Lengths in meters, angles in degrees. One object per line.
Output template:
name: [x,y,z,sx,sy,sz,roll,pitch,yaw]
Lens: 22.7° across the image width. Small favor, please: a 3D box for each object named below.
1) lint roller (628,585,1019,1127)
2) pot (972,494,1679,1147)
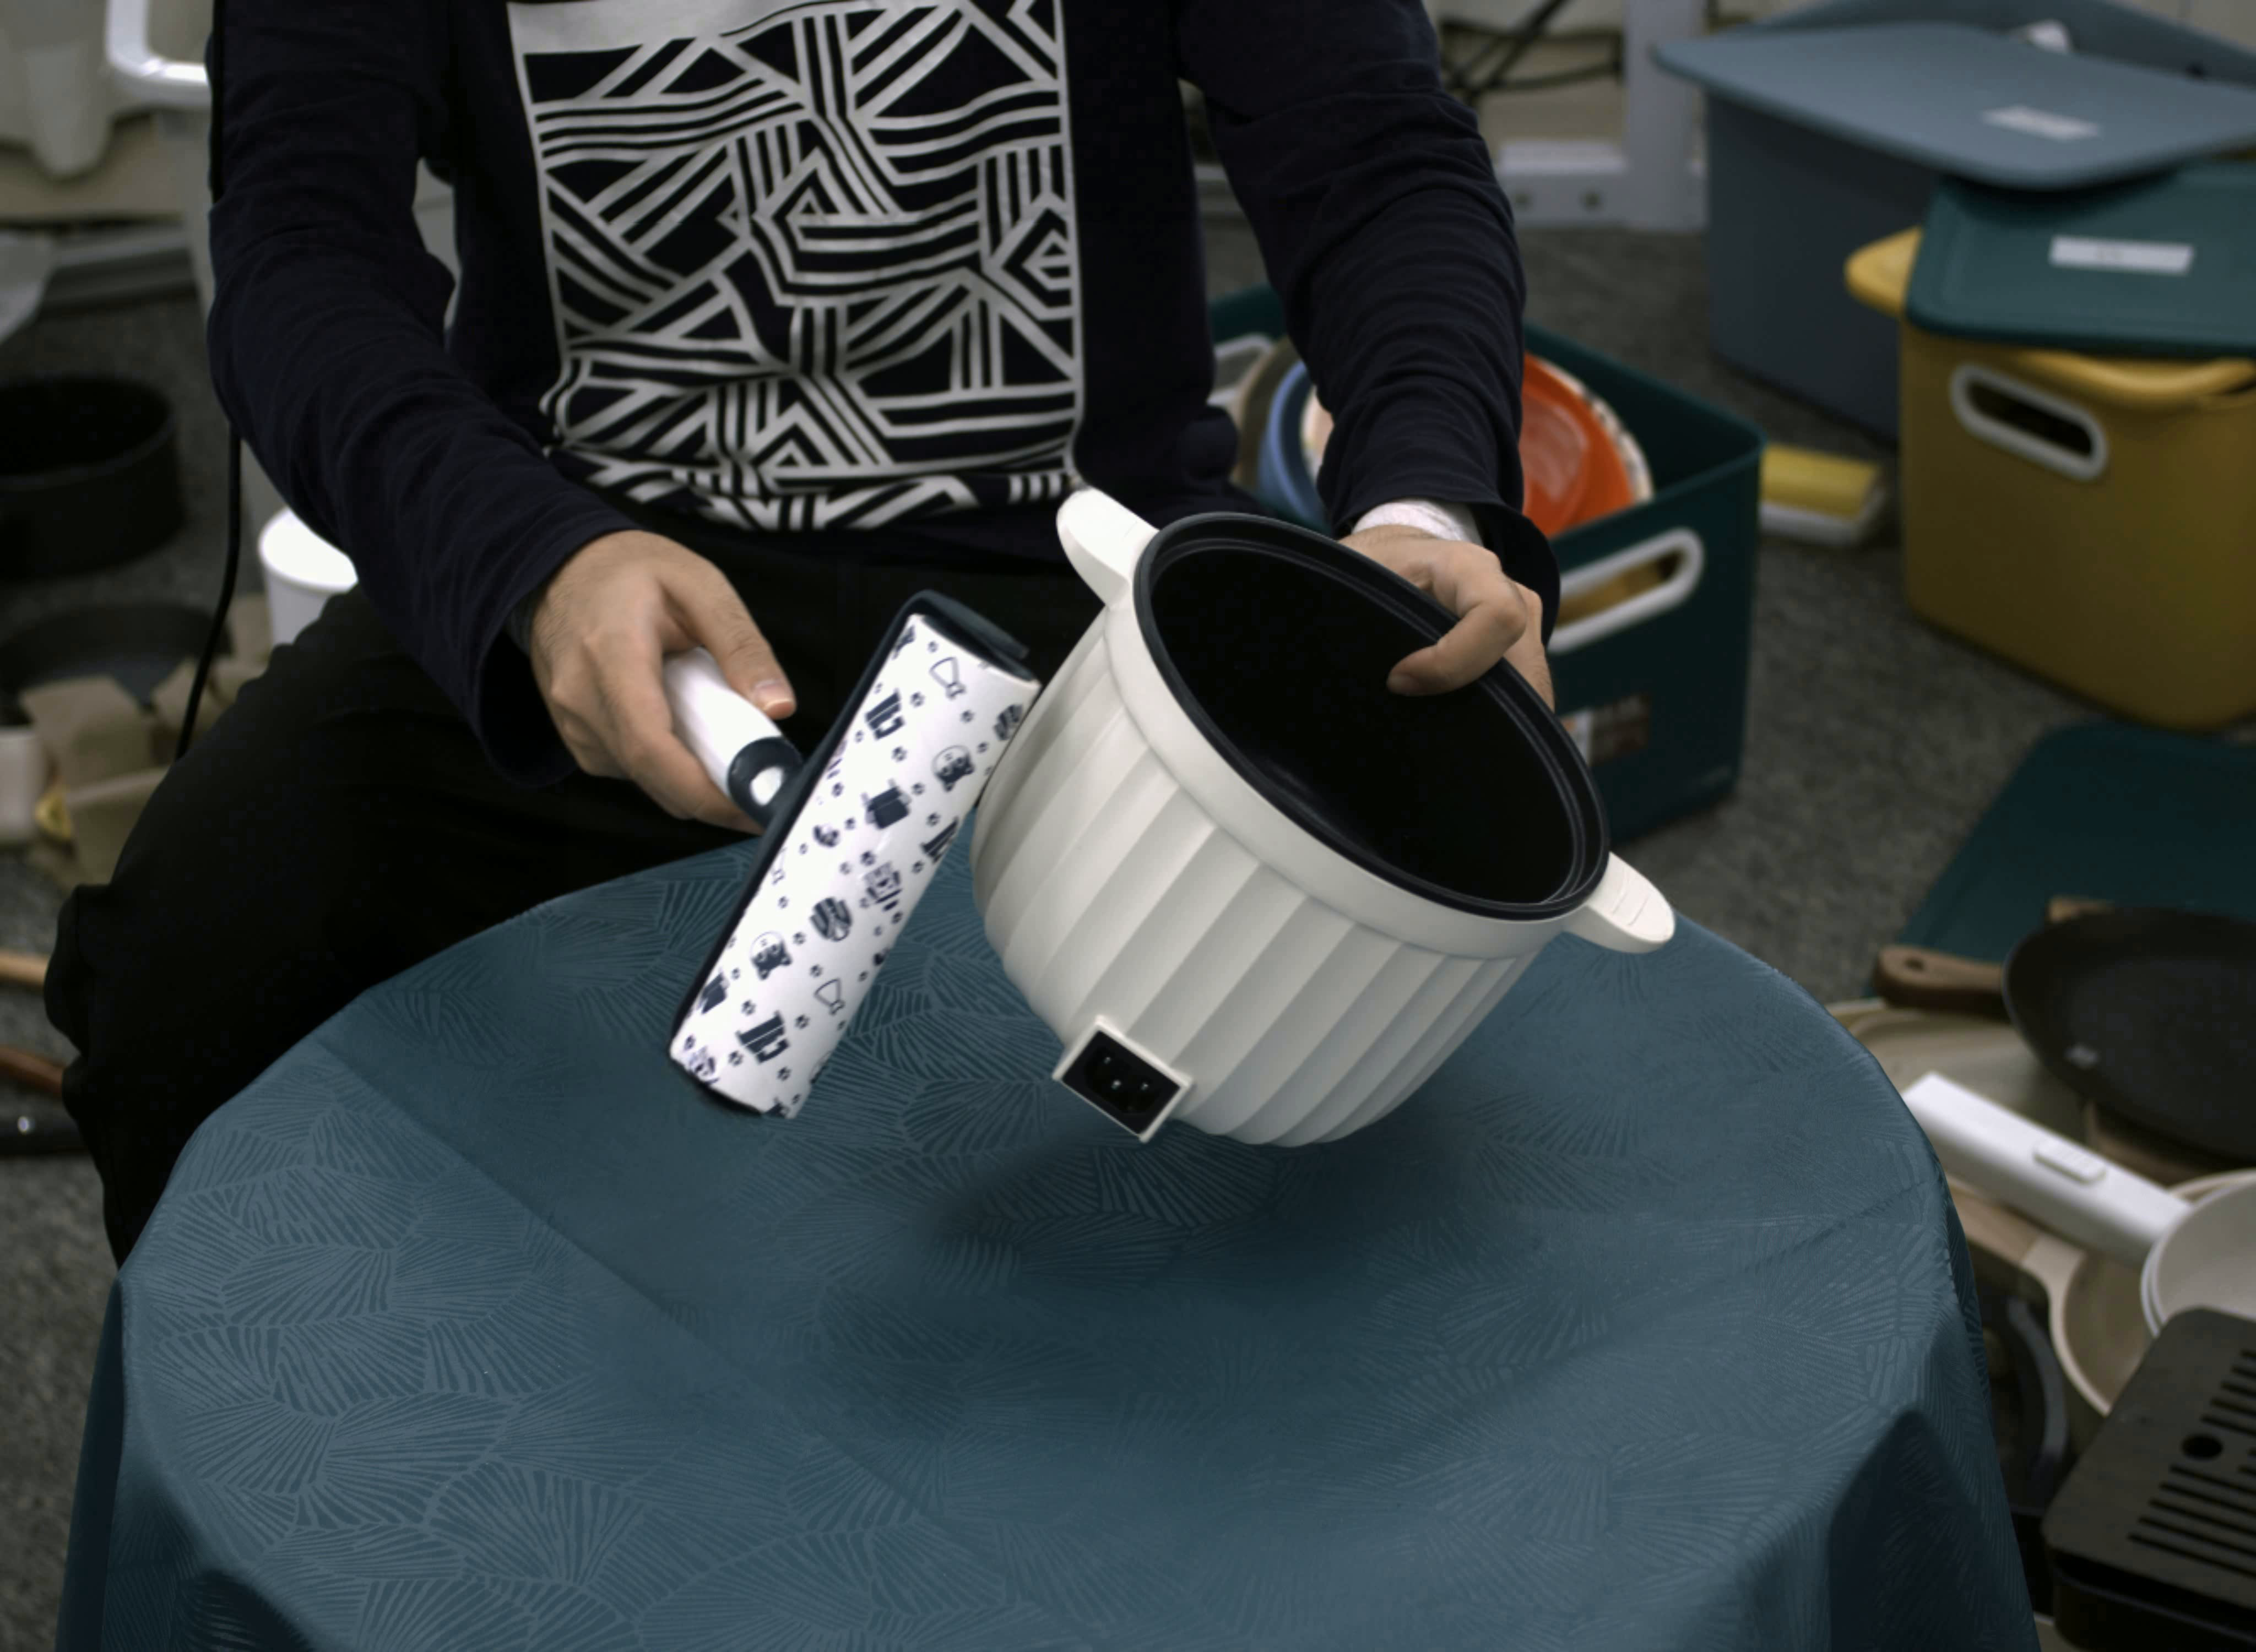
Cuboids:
lint roller: [-0.128,-0.018,1.863,0.050,0.176,0.248,26,6,-29]
pot: [0.045,0.005,1.825,0.240,0.140,0.194,35,31,-4]
